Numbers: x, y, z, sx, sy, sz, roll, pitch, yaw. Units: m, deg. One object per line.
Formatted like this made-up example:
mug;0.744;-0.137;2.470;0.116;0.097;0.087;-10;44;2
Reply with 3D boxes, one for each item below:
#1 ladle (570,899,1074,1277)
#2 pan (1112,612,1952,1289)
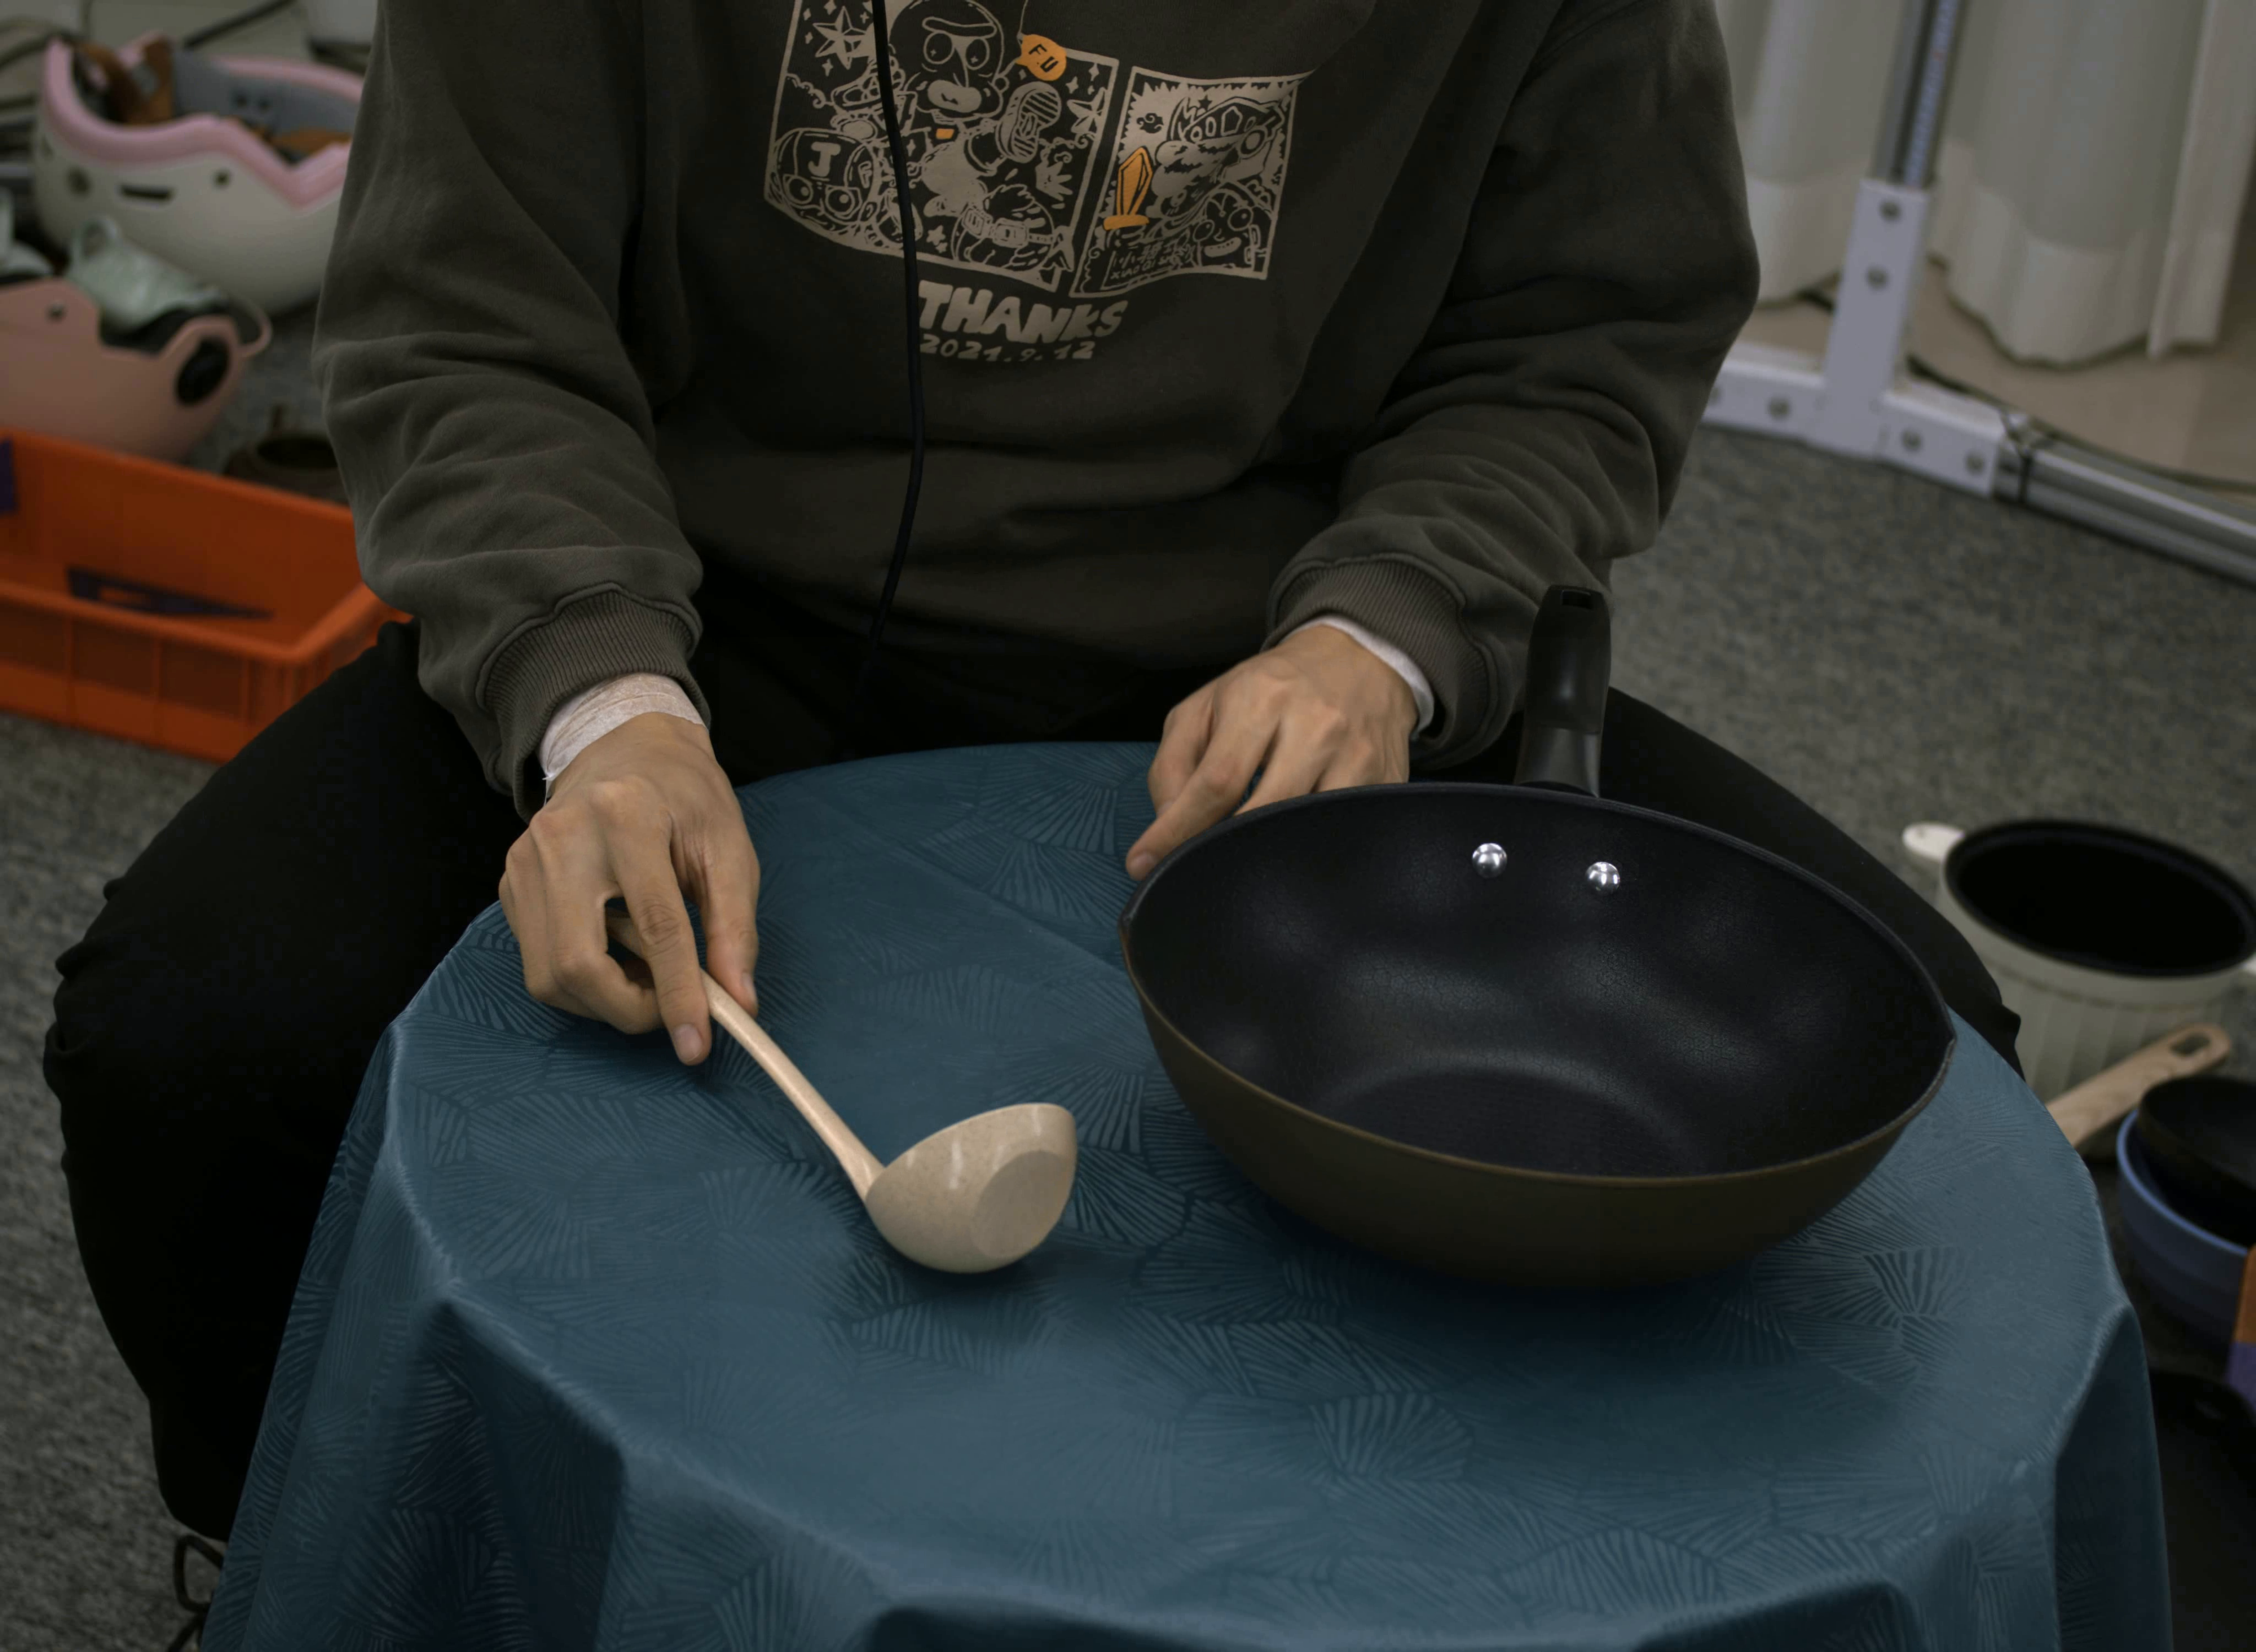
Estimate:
ladle;-0.110;0.062;1.799;0.071;0.072;0.257;-4;34;-41
pan;0.144;0.044;1.903;0.287;0.086;0.465;8;25;4
